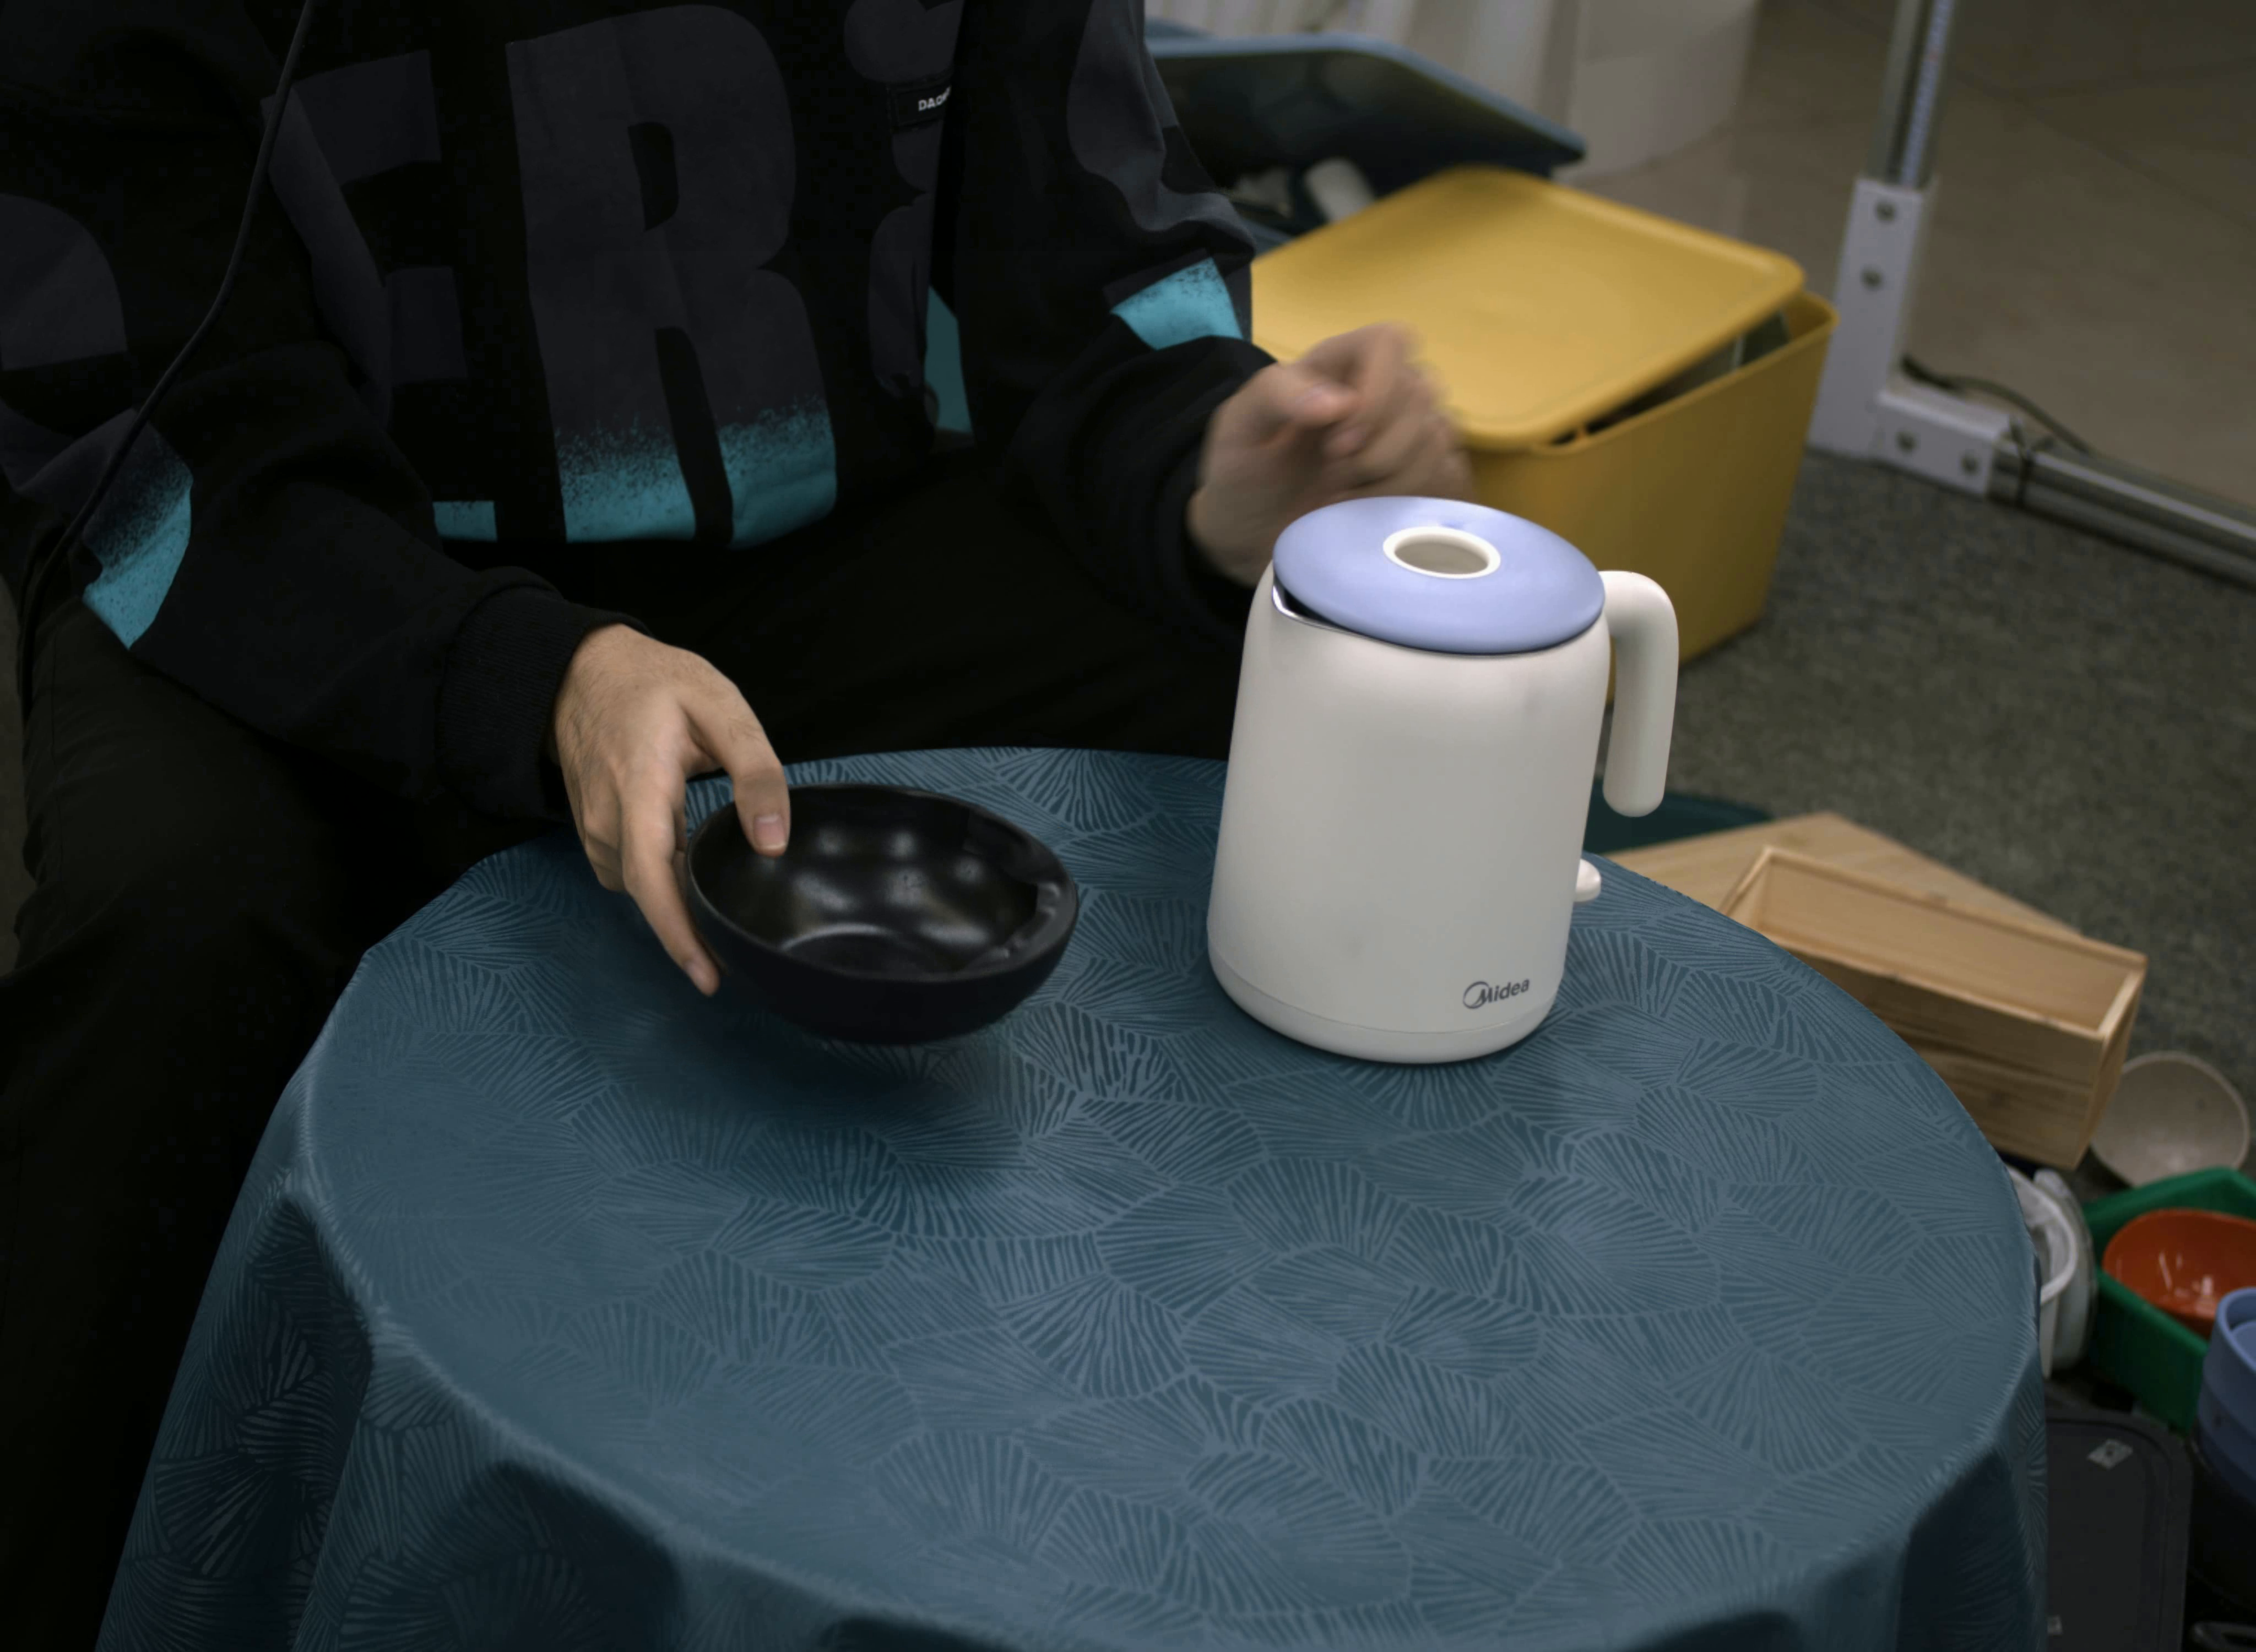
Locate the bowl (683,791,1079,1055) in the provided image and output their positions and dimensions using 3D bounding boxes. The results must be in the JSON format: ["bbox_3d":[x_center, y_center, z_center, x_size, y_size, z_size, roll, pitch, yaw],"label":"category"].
[{"bbox_3d":[-0.088,0.041,1.850,0.139,0.049,0.141,7,27,-4],"label":"bowl"}]

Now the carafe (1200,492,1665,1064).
[{"bbox_3d":[0.119,-0.021,1.923,0.190,0.182,0.133,-10,32,-35],"label":"carafe"}]
